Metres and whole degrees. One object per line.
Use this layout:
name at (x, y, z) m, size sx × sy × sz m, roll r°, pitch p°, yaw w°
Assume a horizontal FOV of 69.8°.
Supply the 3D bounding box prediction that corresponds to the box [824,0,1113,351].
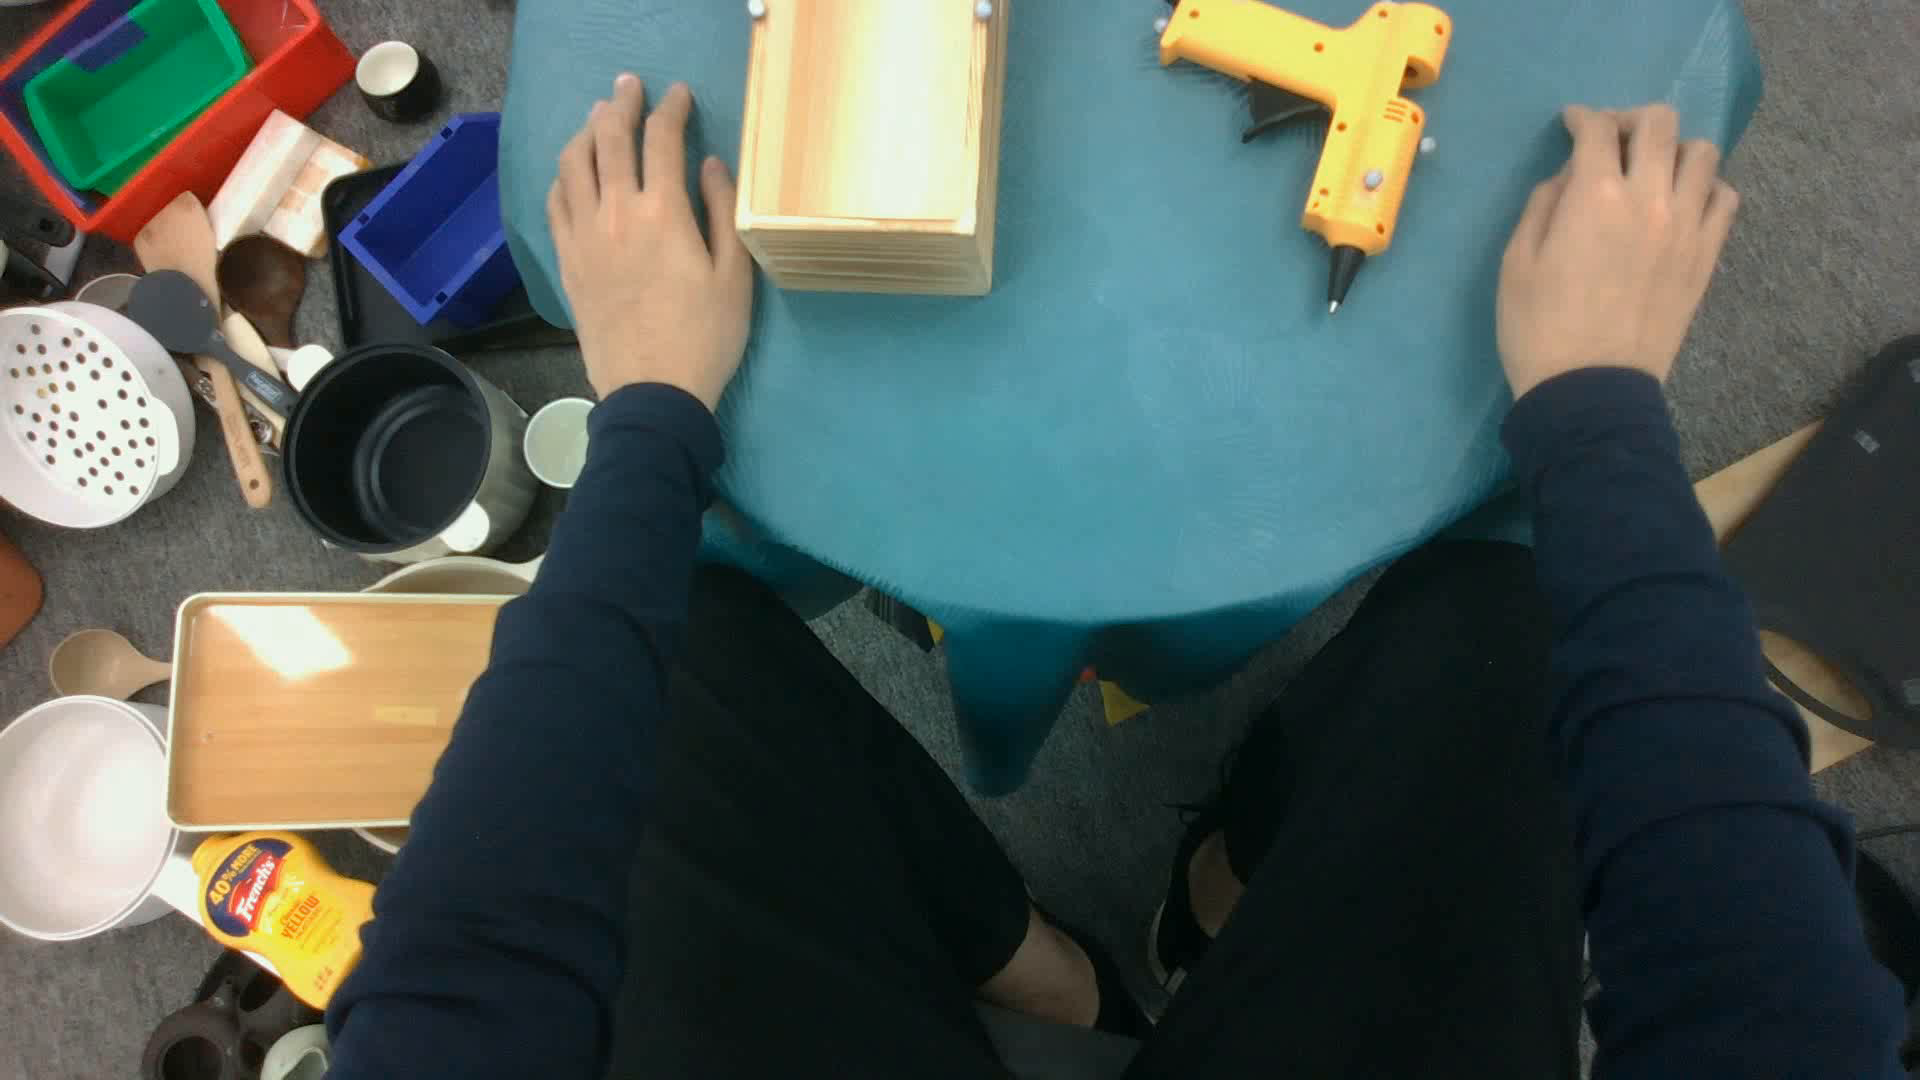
box at (0.010, -0.207, 0.668) m, size 0.107 × 0.080 × 0.212 m, roll 5°, pitch 78°, yaw 10°

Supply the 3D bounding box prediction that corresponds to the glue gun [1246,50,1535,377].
glue gun at (0.191, -0.156, 0.656) m, size 0.133 × 0.031 × 0.151 m, roll 14°, pitch 80°, yaw 12°
